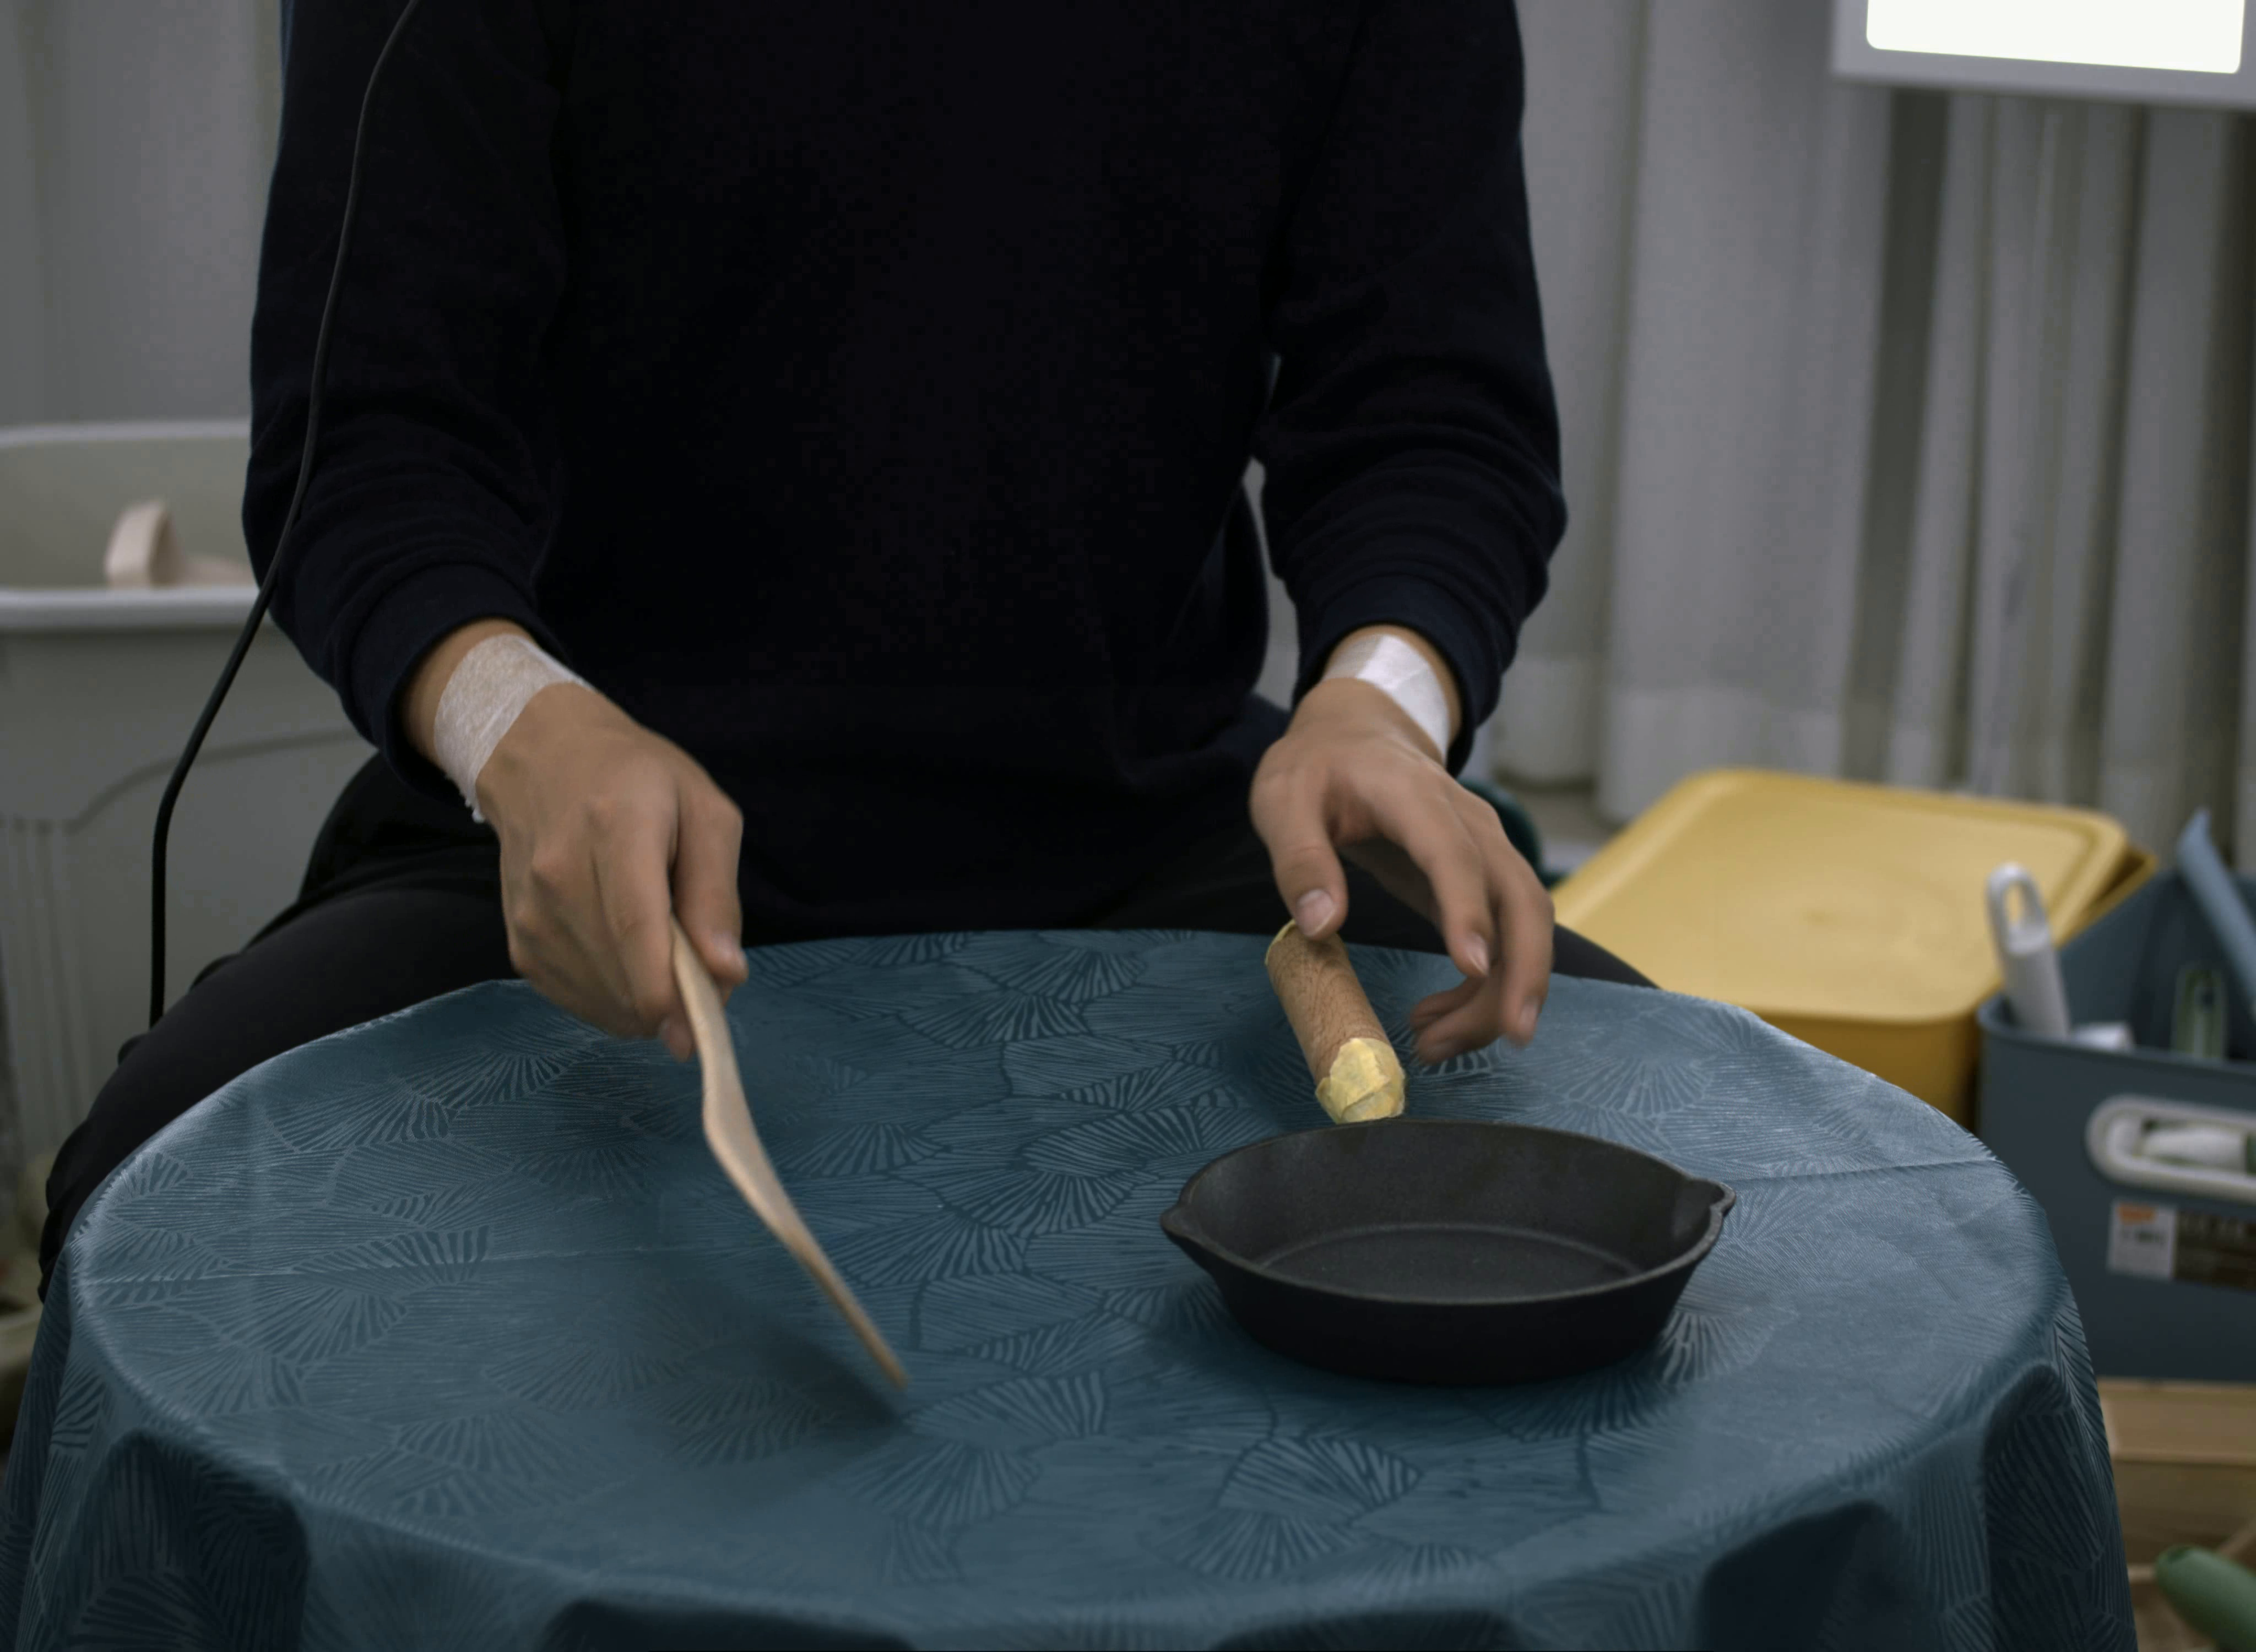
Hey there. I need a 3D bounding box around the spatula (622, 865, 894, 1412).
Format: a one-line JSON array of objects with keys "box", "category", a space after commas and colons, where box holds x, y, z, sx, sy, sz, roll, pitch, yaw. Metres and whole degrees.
[{"box": [-0.117, 0.078, 1.551, 0.016, 0.081, 0.324, -31, 25, 1], "category": "spatula"}]

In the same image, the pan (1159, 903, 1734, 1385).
[{"box": [0.081, 0.093, 1.600, 0.169, 0.050, 0.321, -2, 17, -8], "category": "pan"}]
